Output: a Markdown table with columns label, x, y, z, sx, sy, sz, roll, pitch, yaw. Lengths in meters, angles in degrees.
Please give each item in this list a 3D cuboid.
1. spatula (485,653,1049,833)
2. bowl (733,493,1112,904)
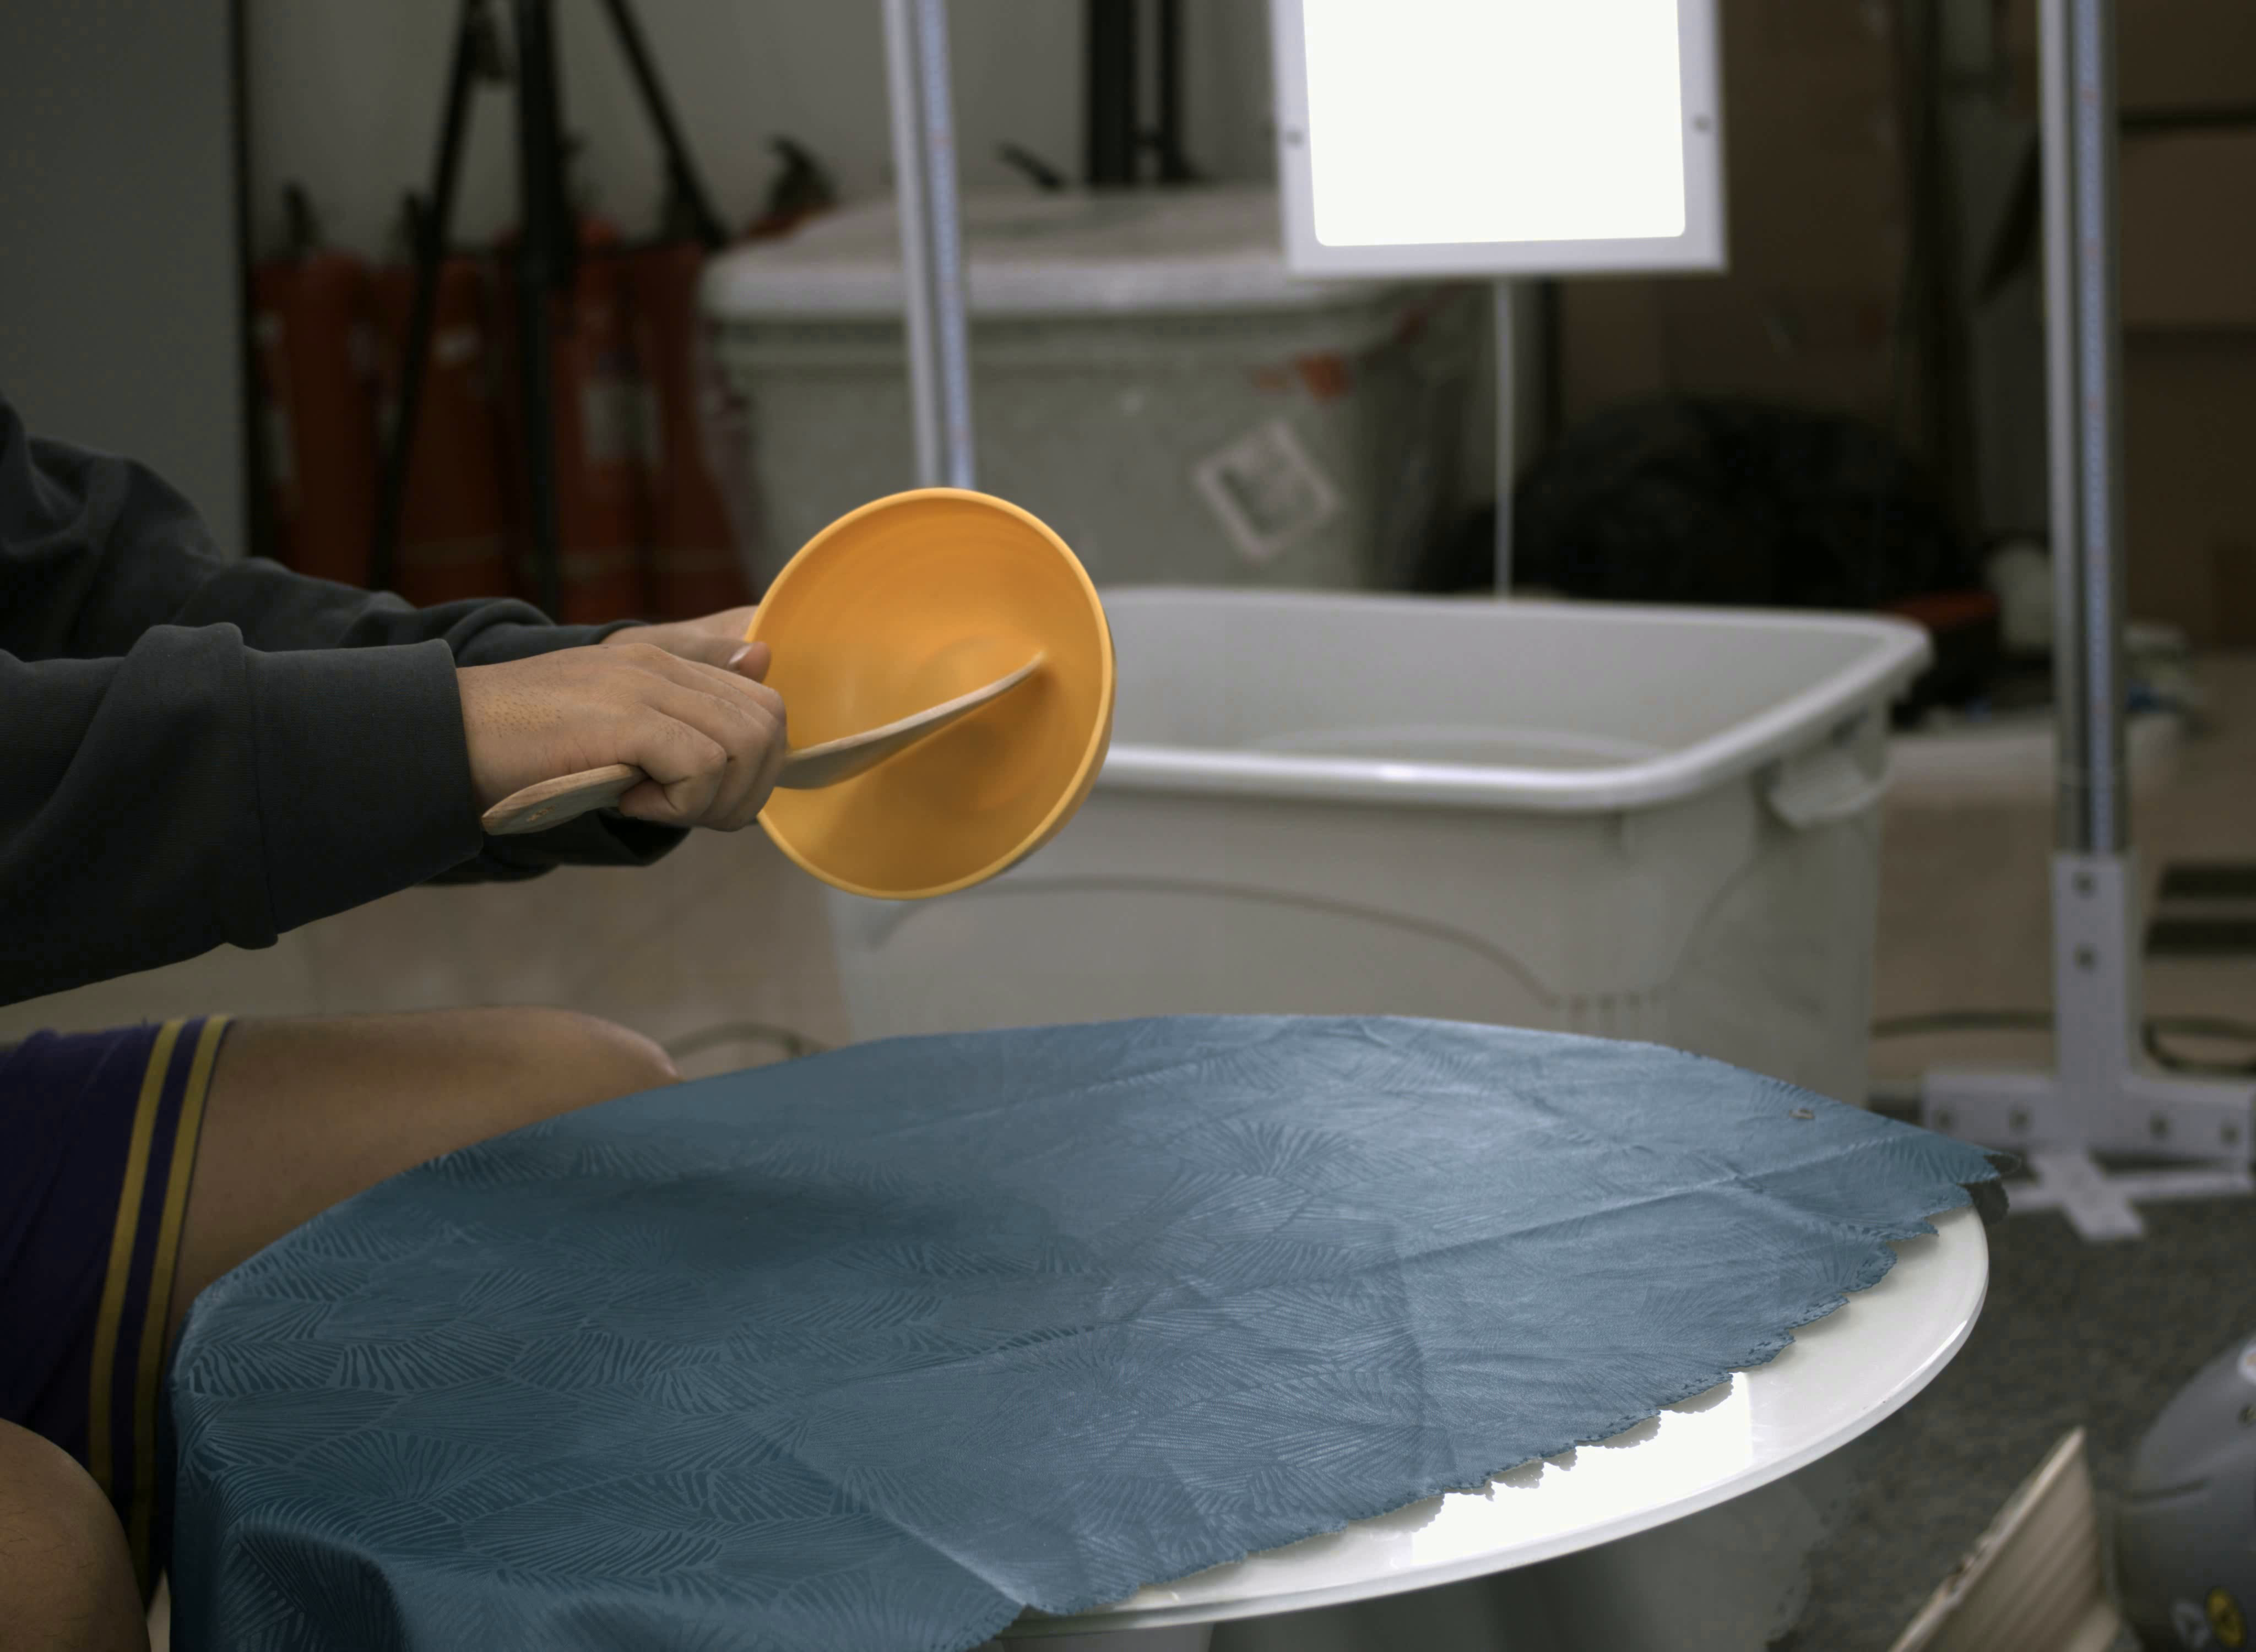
| label | x | y | z | sx | sy | sz | roll | pitch | yaw |
| --- | --- | --- | --- | --- | --- | --- | --- | --- | --- |
| spatula | -0.120 | -0.023 | 1.786 | 0.081 | 0.016 | 0.321 | -29 | -7 | 25 |
| bowl | -0.061 | -0.038 | 1.908 | 0.148 | 0.145 | 0.059 | 3 | -10 | 30 |
